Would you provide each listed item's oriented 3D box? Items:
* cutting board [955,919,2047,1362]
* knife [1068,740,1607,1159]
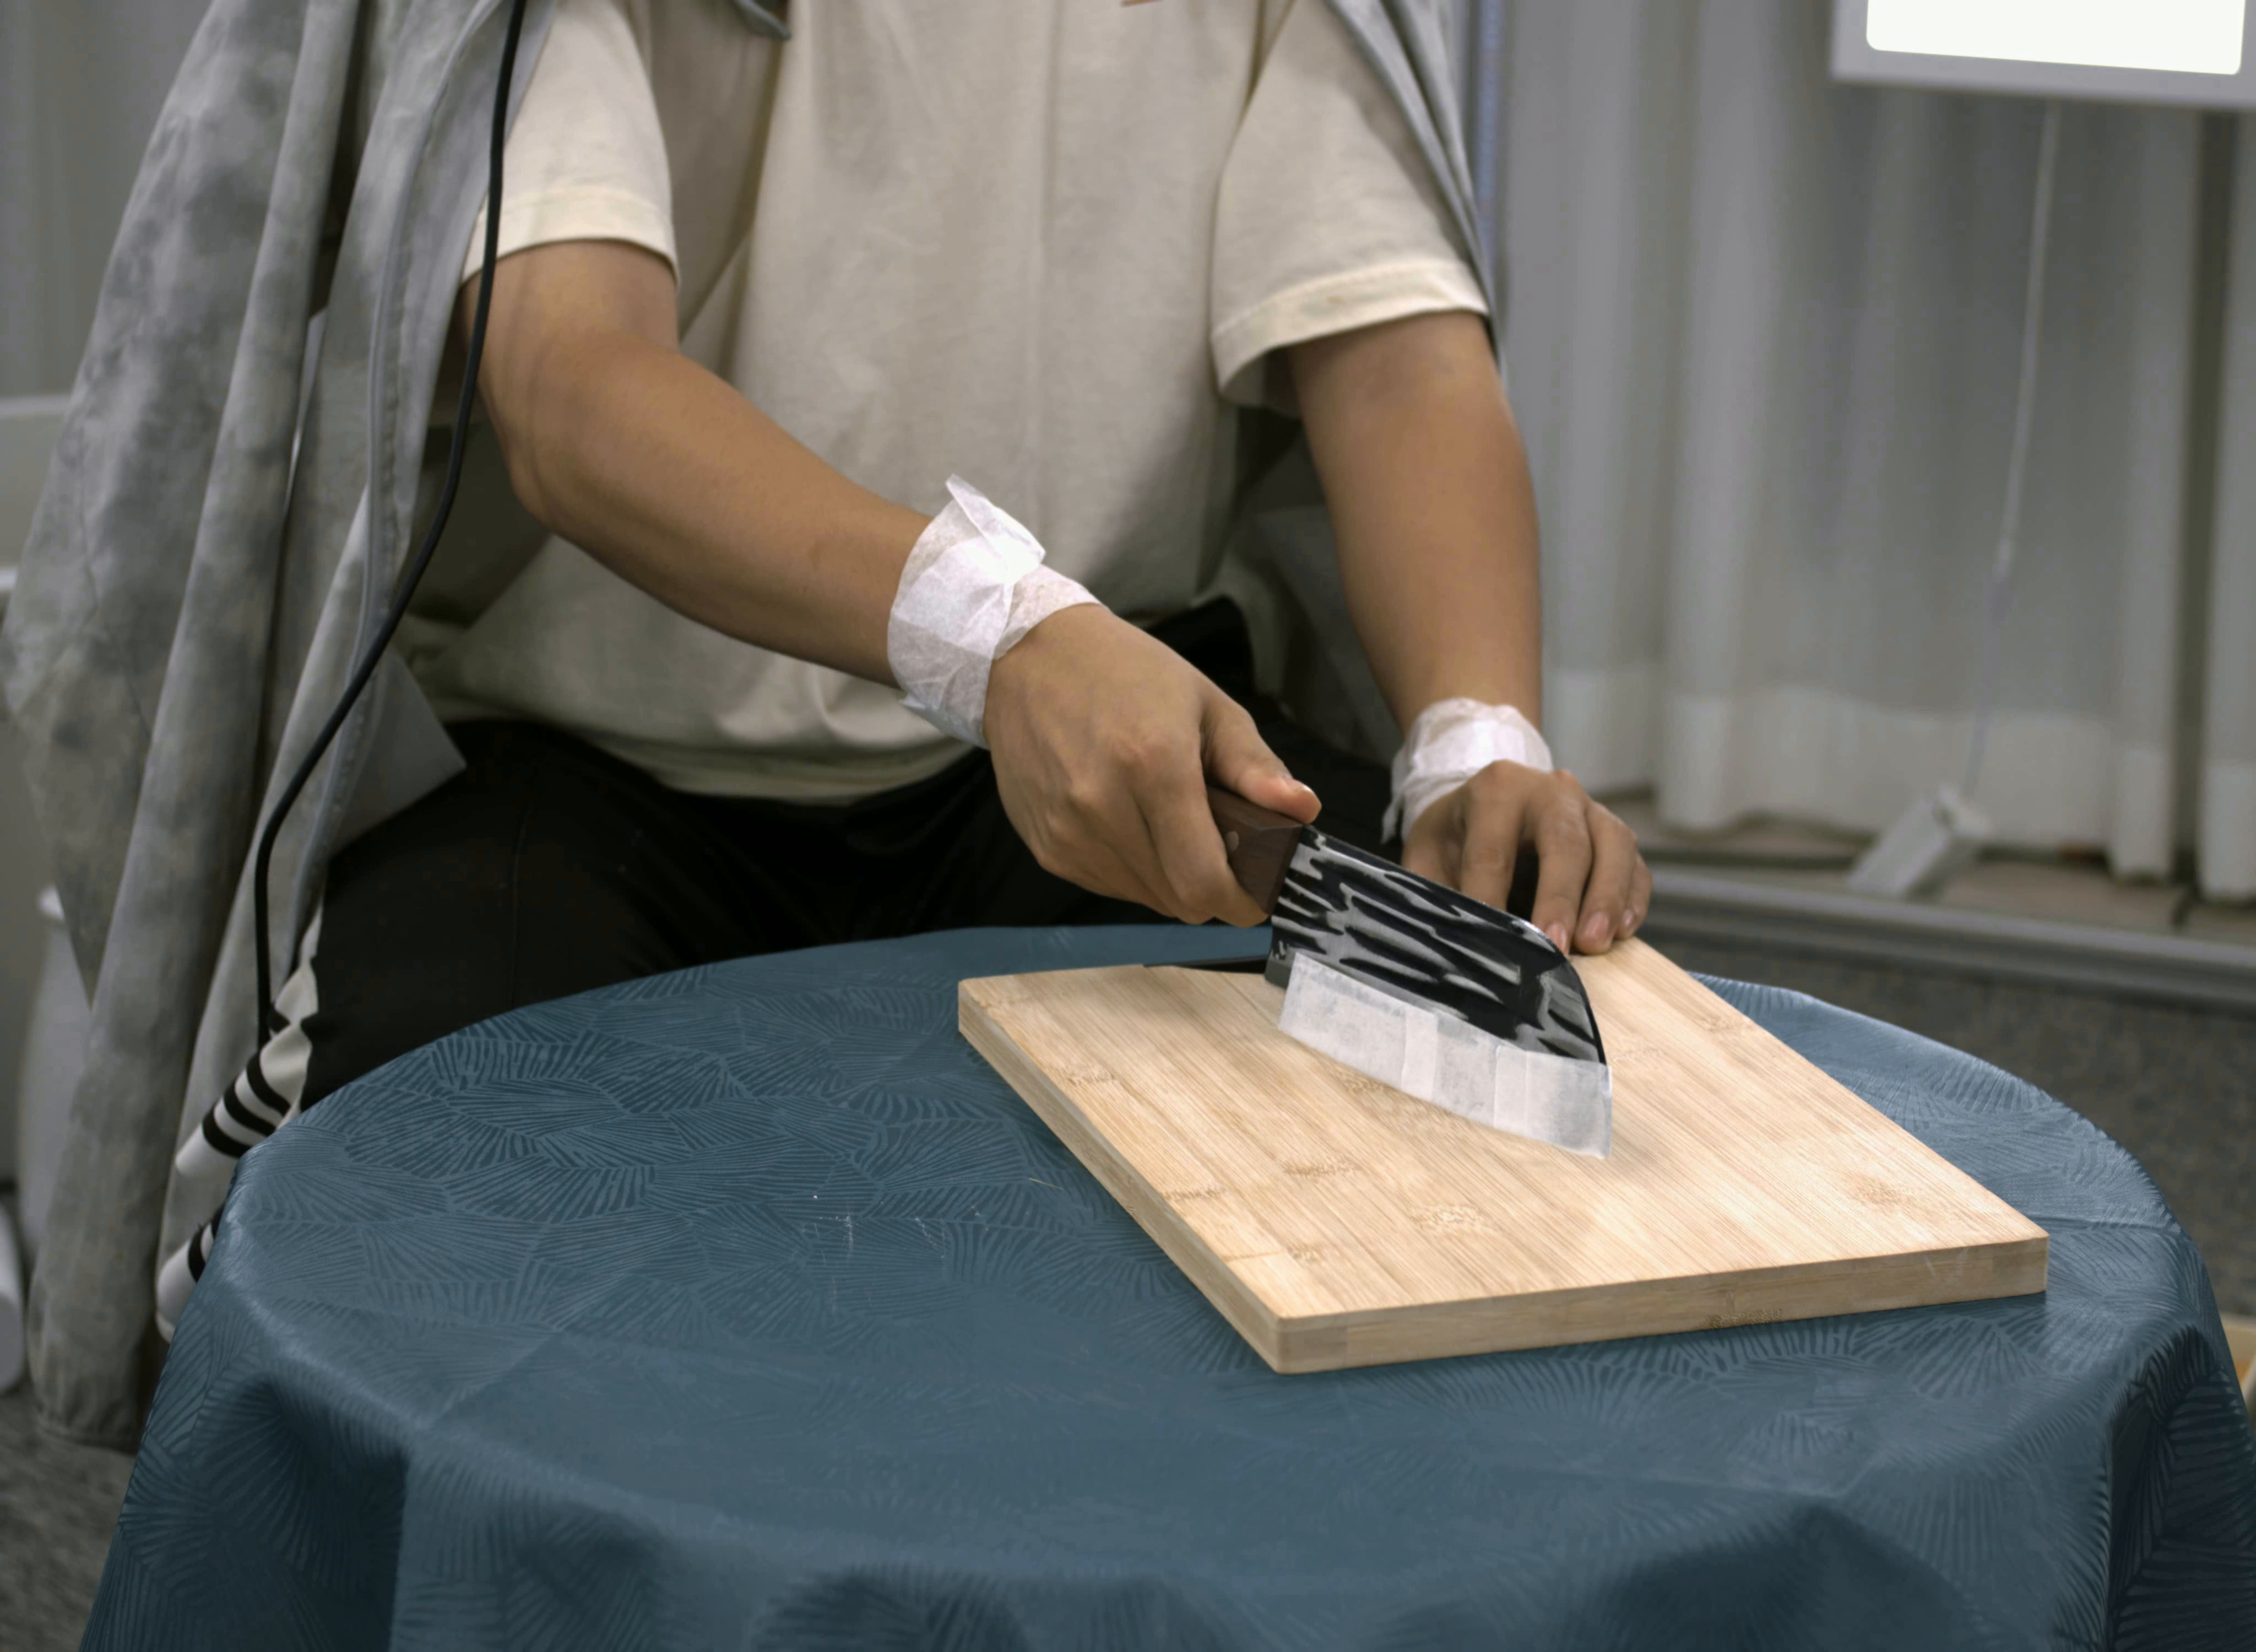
[{"bbox_3d":[0.105,0.093,1.668,0.251,0.024,0.345,-4,16,-18],"label":"cutting board"},{"bbox_3d":[0.064,0.037,1.694,0.024,0.068,0.295,5,14,-37],"label":"knife"}]
